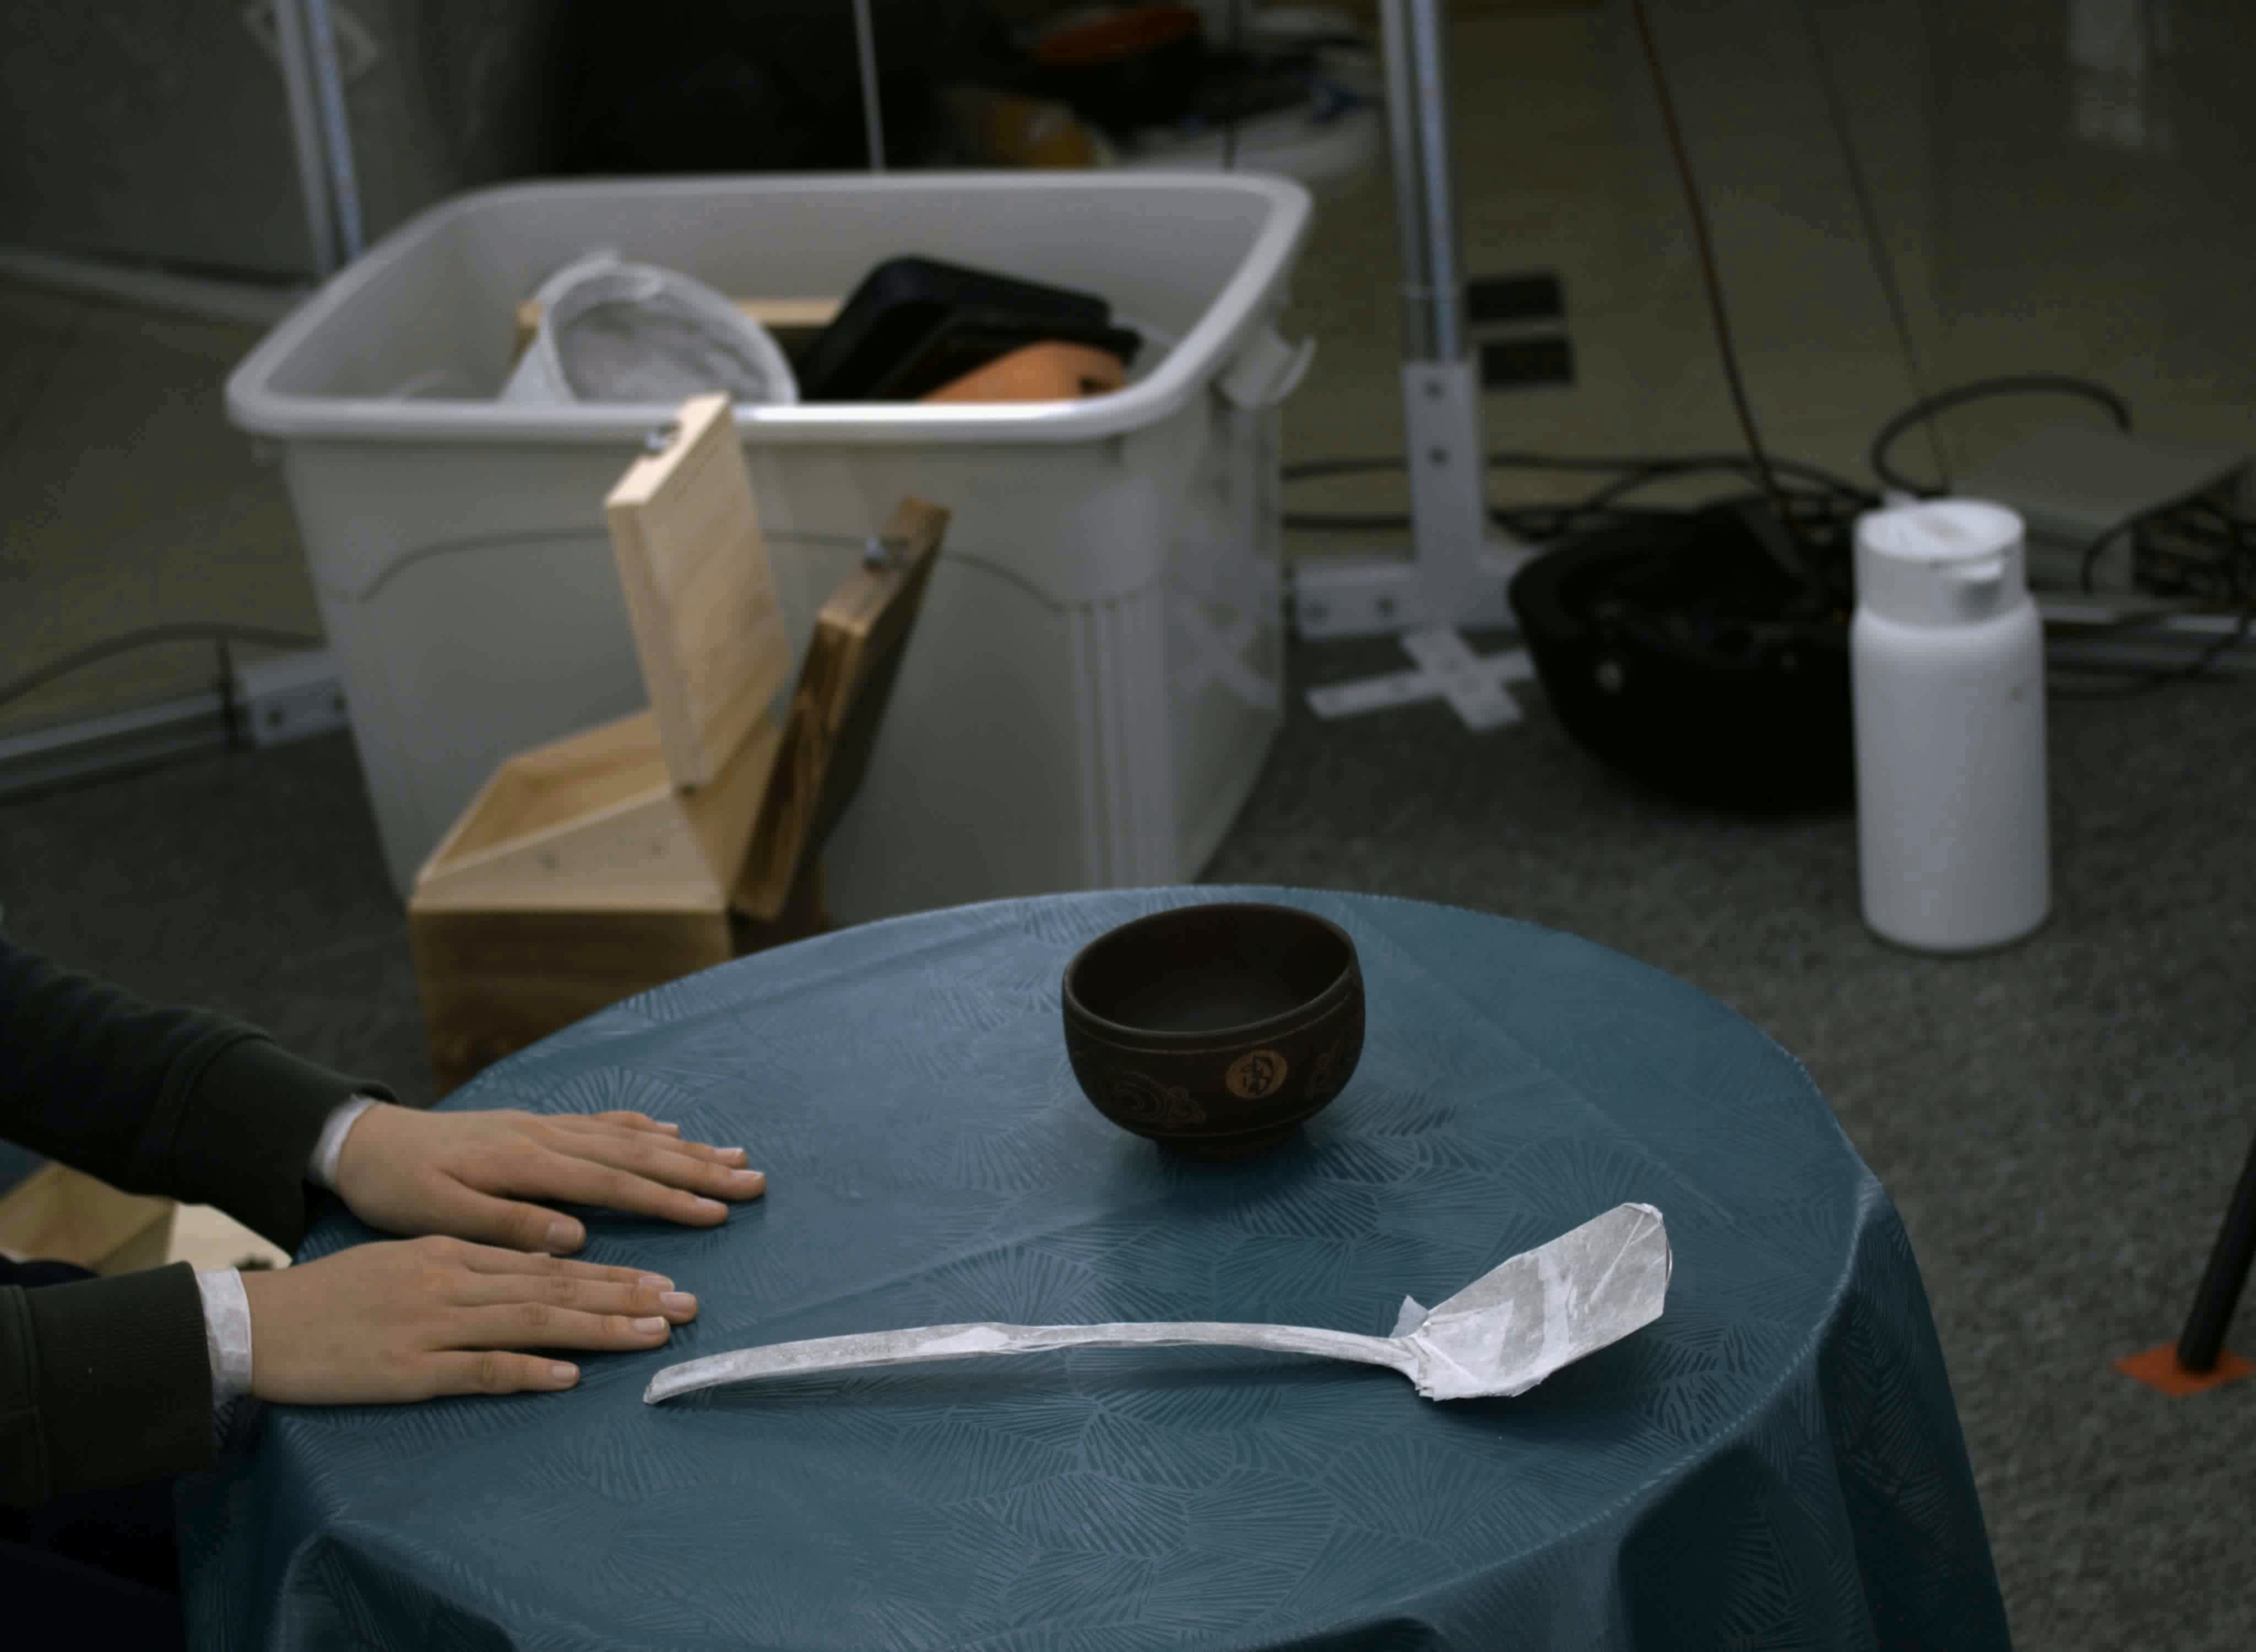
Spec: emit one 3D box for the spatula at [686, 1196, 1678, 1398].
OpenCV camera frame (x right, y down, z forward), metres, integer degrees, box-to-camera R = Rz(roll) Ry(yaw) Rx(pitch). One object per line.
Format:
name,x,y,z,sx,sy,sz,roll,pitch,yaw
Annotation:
spatula,0.015,0.177,2.023,0.364,0.045,0.097,-2,27,9

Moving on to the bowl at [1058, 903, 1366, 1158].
bowl,0.034,0.084,2.176,0.118,0.071,0.116,-6,23,3
